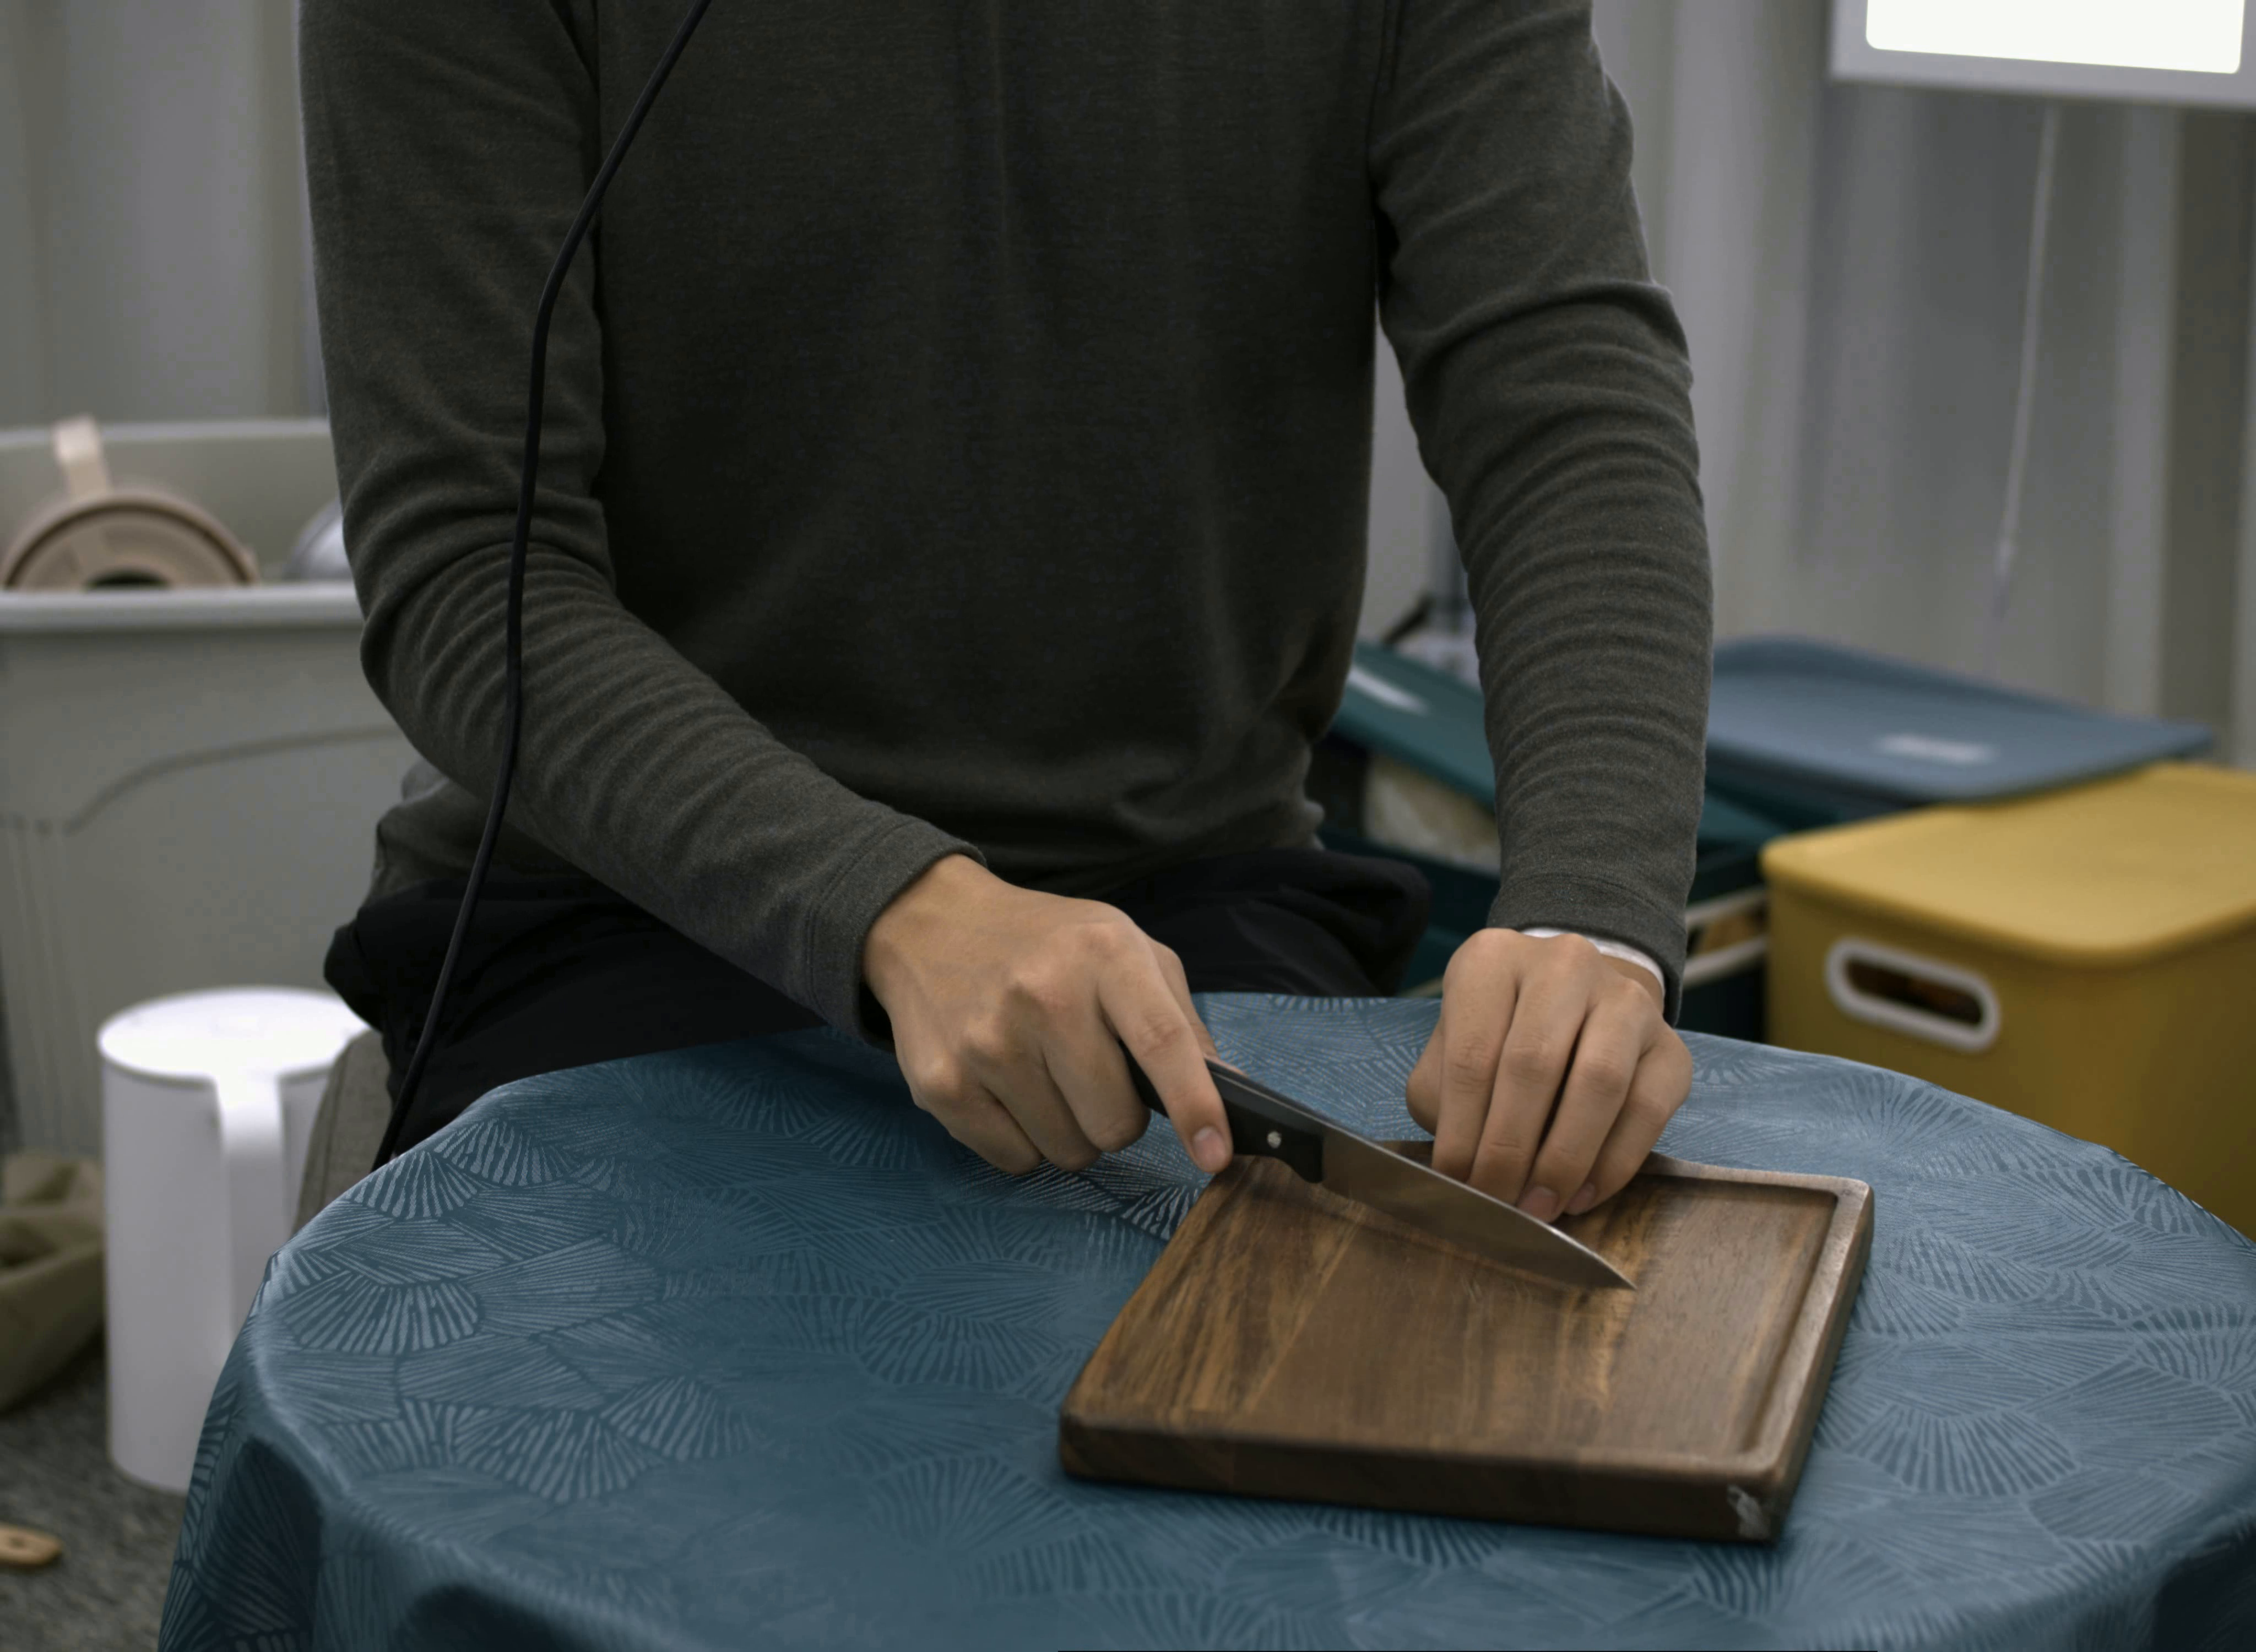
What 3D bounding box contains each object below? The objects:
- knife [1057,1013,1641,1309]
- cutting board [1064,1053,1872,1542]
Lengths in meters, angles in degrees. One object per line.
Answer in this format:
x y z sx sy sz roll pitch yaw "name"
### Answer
0.063 0.098 1.556 0.016 0.025 0.235 -21 32 -39 "knife"
0.114 0.127 1.538 0.199 0.023 0.352 4 15 12 "cutting board"
